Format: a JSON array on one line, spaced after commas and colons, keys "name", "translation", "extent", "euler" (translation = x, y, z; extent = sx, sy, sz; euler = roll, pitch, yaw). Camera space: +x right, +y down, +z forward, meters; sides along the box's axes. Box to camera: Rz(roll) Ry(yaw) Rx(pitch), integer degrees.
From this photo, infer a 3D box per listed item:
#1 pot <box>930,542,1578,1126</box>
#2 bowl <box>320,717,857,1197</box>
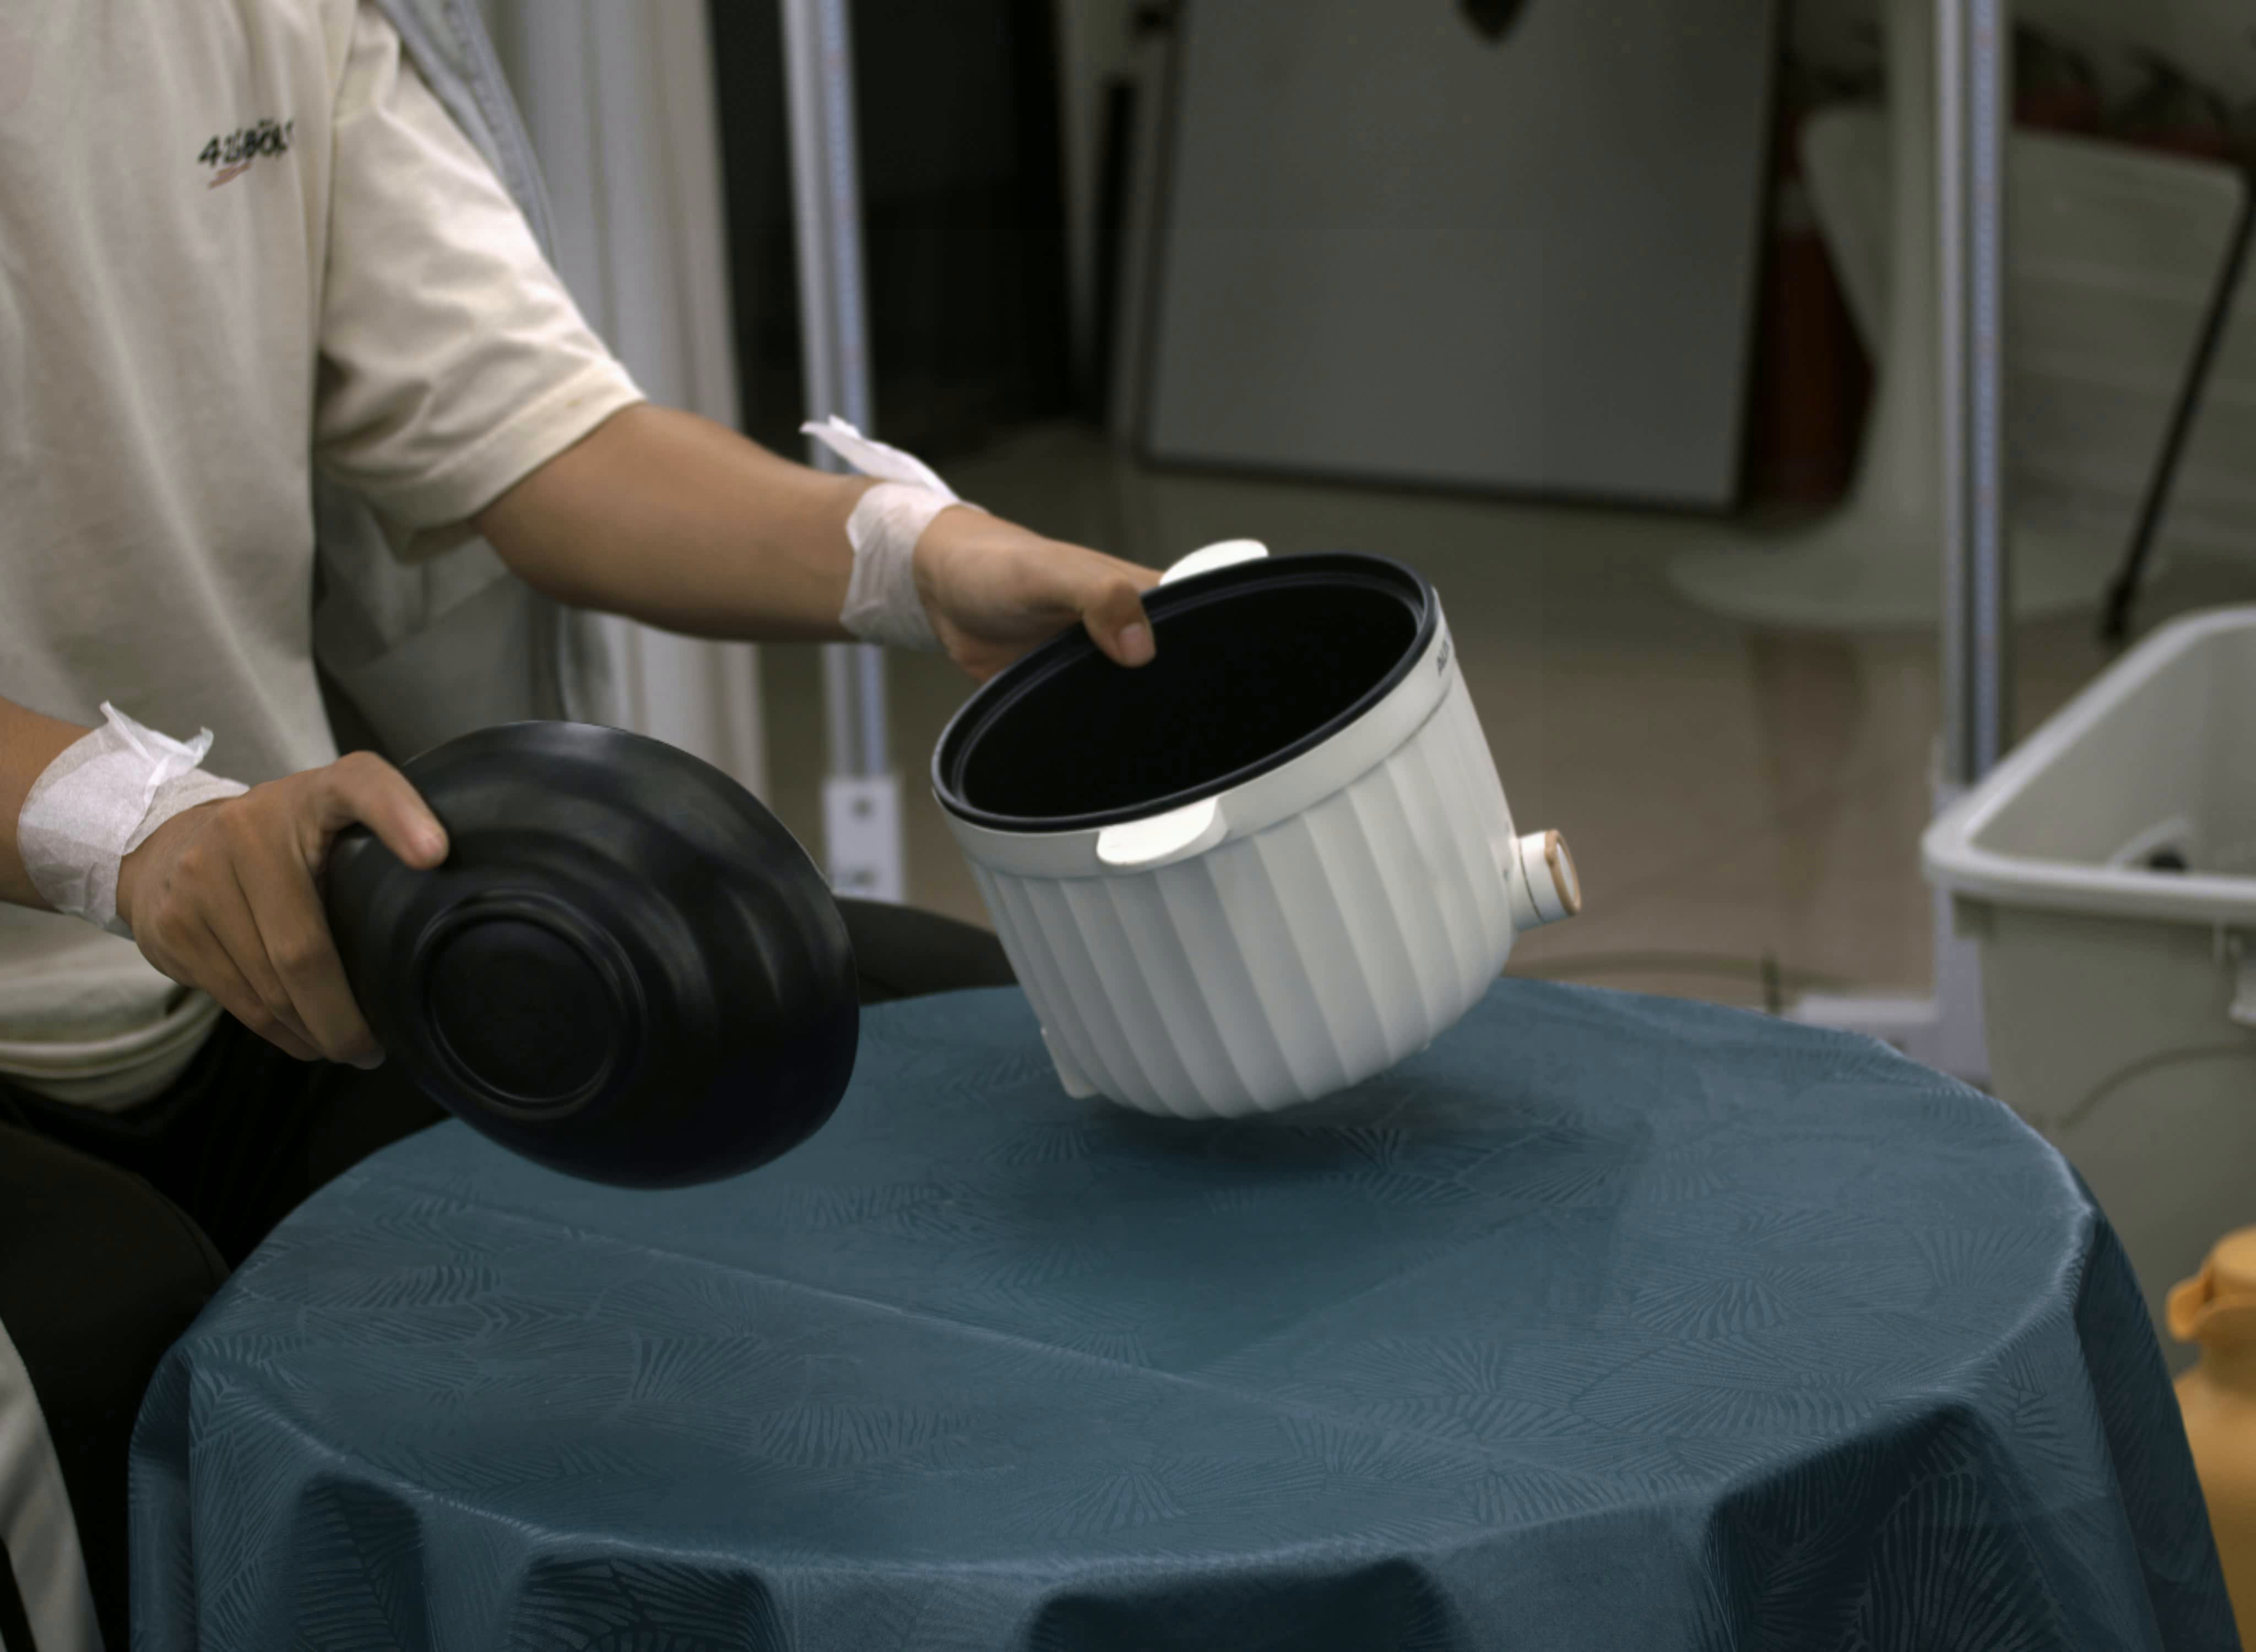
[{"name": "pot", "translation": [0.045, 0.006, 1.821], "extent": [0.190, 0.143, 0.240], "euler": [-20, 23, 16]}, {"name": "bowl", "translation": [-0.163, 0.043, 1.562], "extent": [0.170, 0.139, 0.066], "euler": [27, 23, 11]}]
